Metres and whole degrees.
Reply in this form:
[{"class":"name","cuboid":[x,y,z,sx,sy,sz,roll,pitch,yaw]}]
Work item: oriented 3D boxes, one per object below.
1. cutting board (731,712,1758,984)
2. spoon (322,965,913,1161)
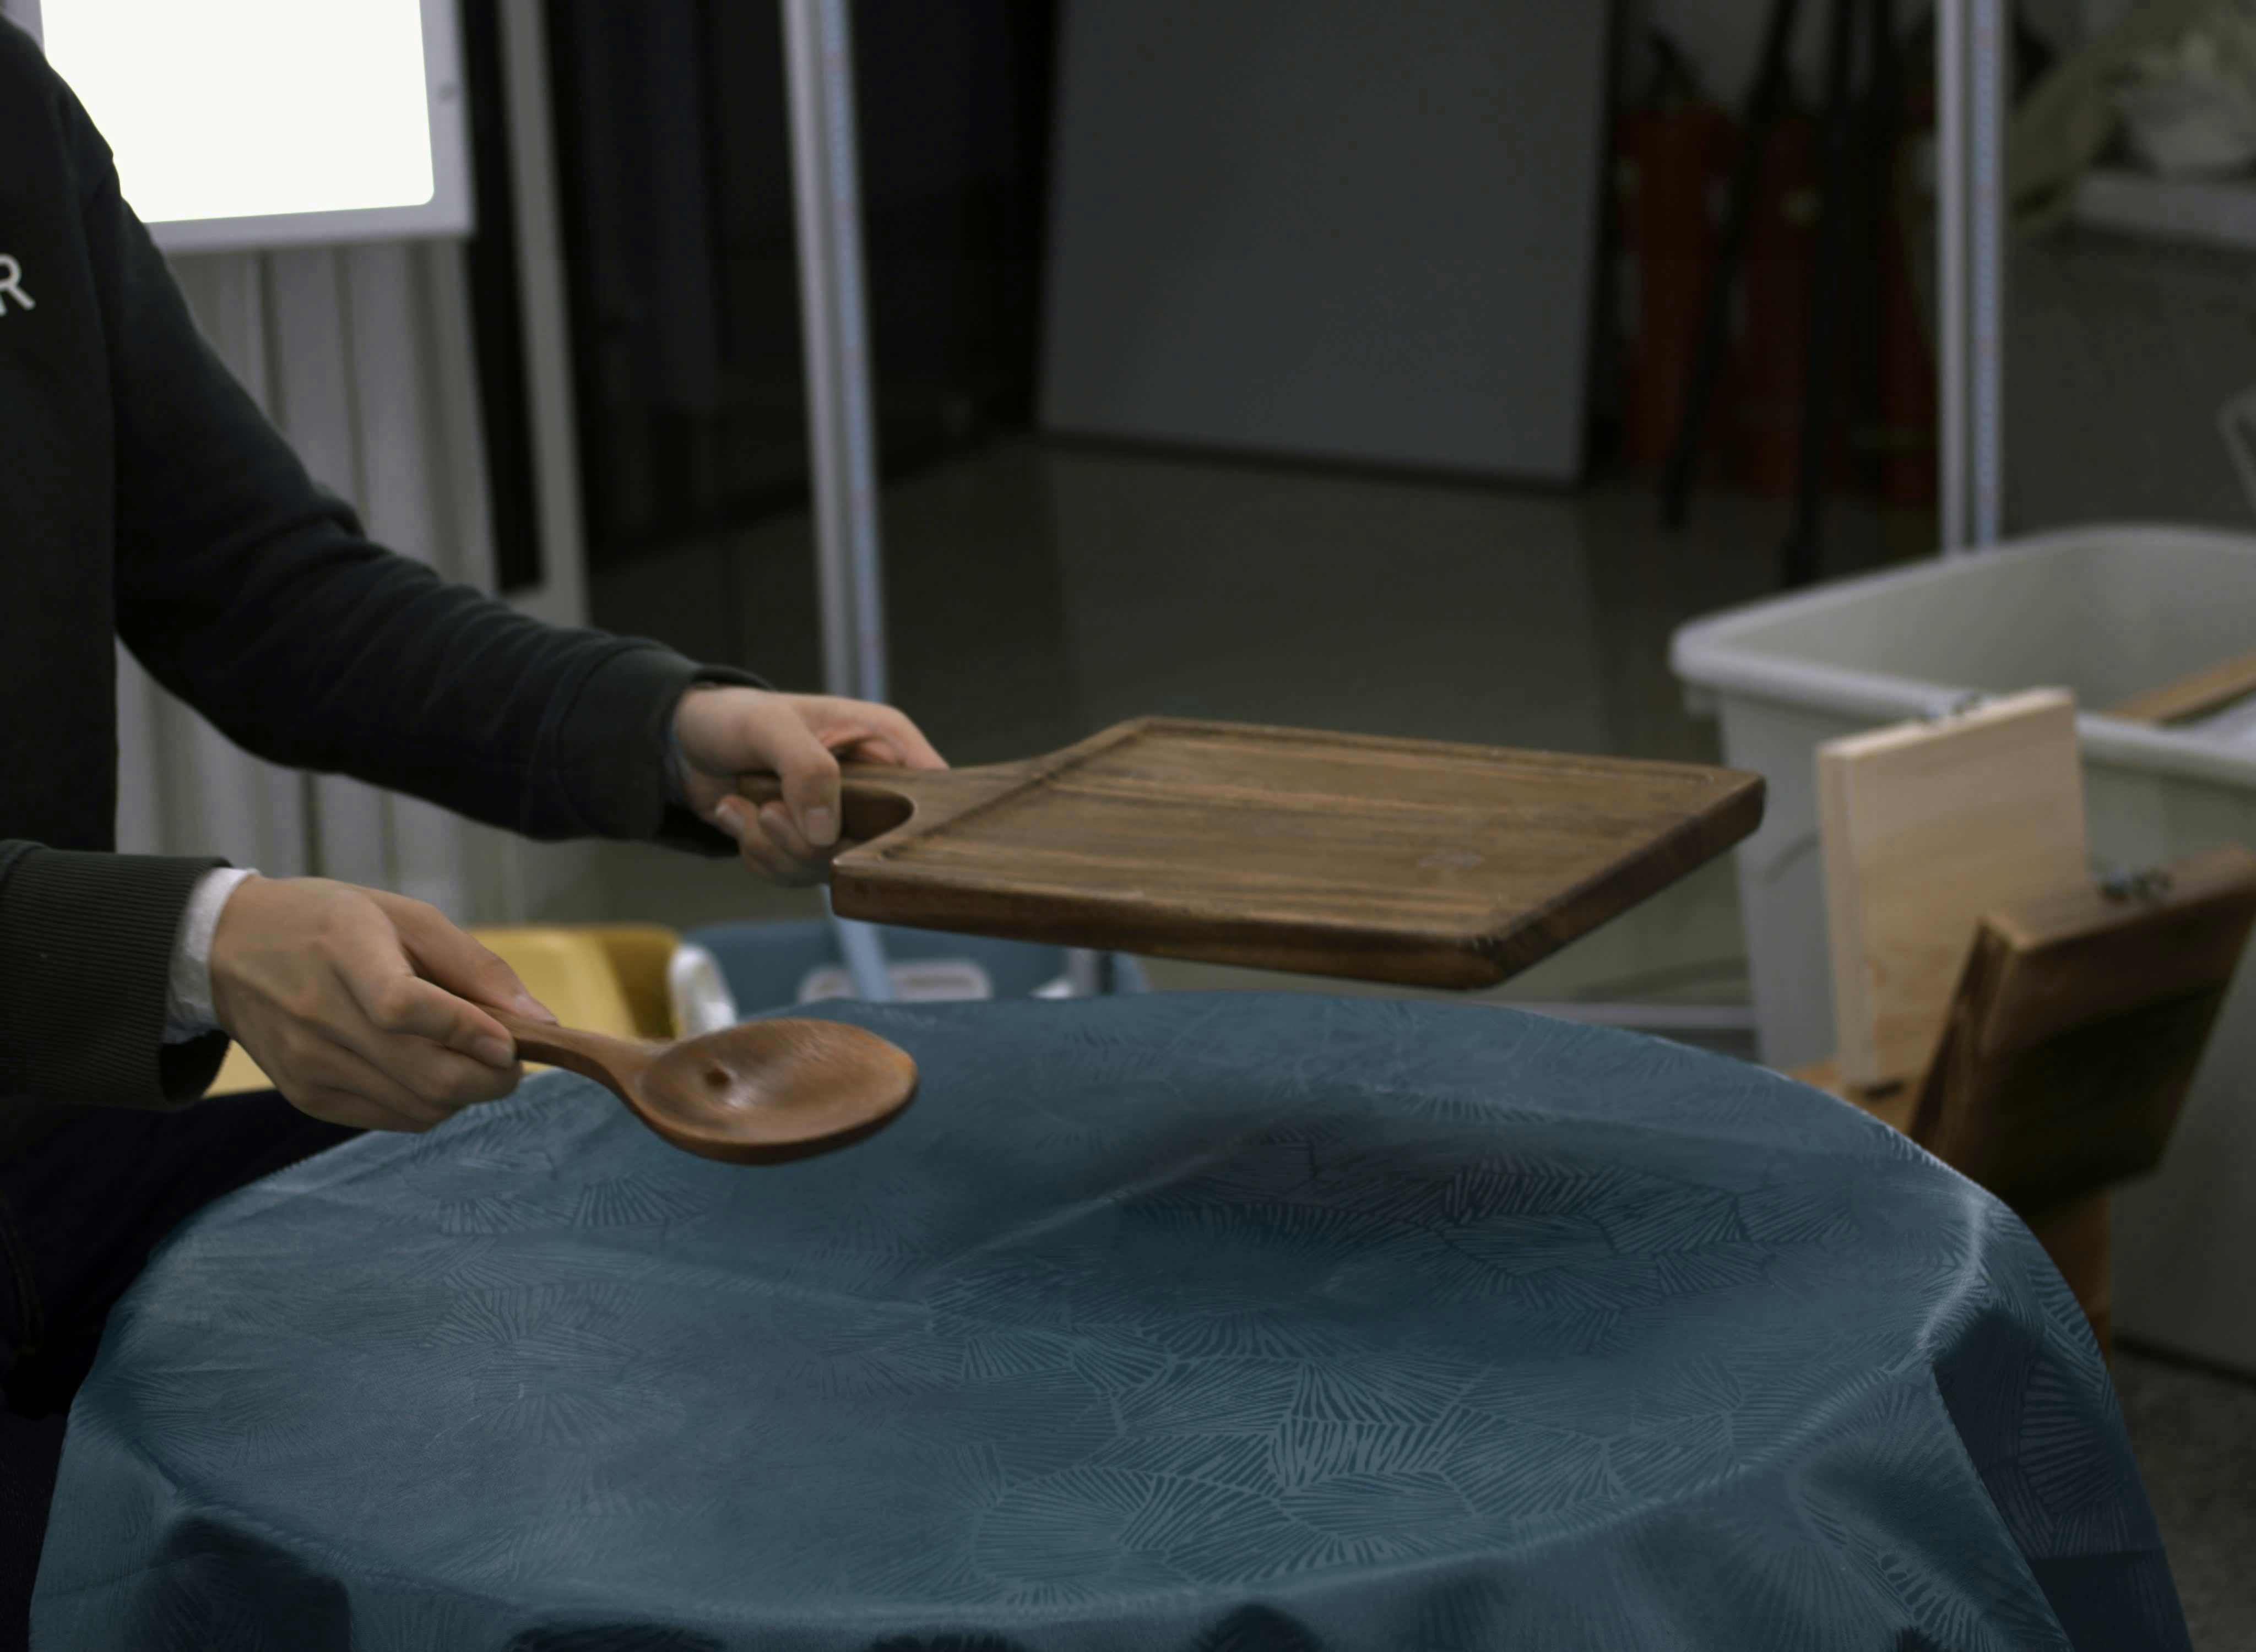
[{"class":"cutting board","cuboid":[0.014,0.000,1.782,0.354,0.023,0.198,5,19,34]},{"class":"spoon","cuboid":[-0.154,0.066,1.594,0.217,0.017,0.074,10,34,35]}]
